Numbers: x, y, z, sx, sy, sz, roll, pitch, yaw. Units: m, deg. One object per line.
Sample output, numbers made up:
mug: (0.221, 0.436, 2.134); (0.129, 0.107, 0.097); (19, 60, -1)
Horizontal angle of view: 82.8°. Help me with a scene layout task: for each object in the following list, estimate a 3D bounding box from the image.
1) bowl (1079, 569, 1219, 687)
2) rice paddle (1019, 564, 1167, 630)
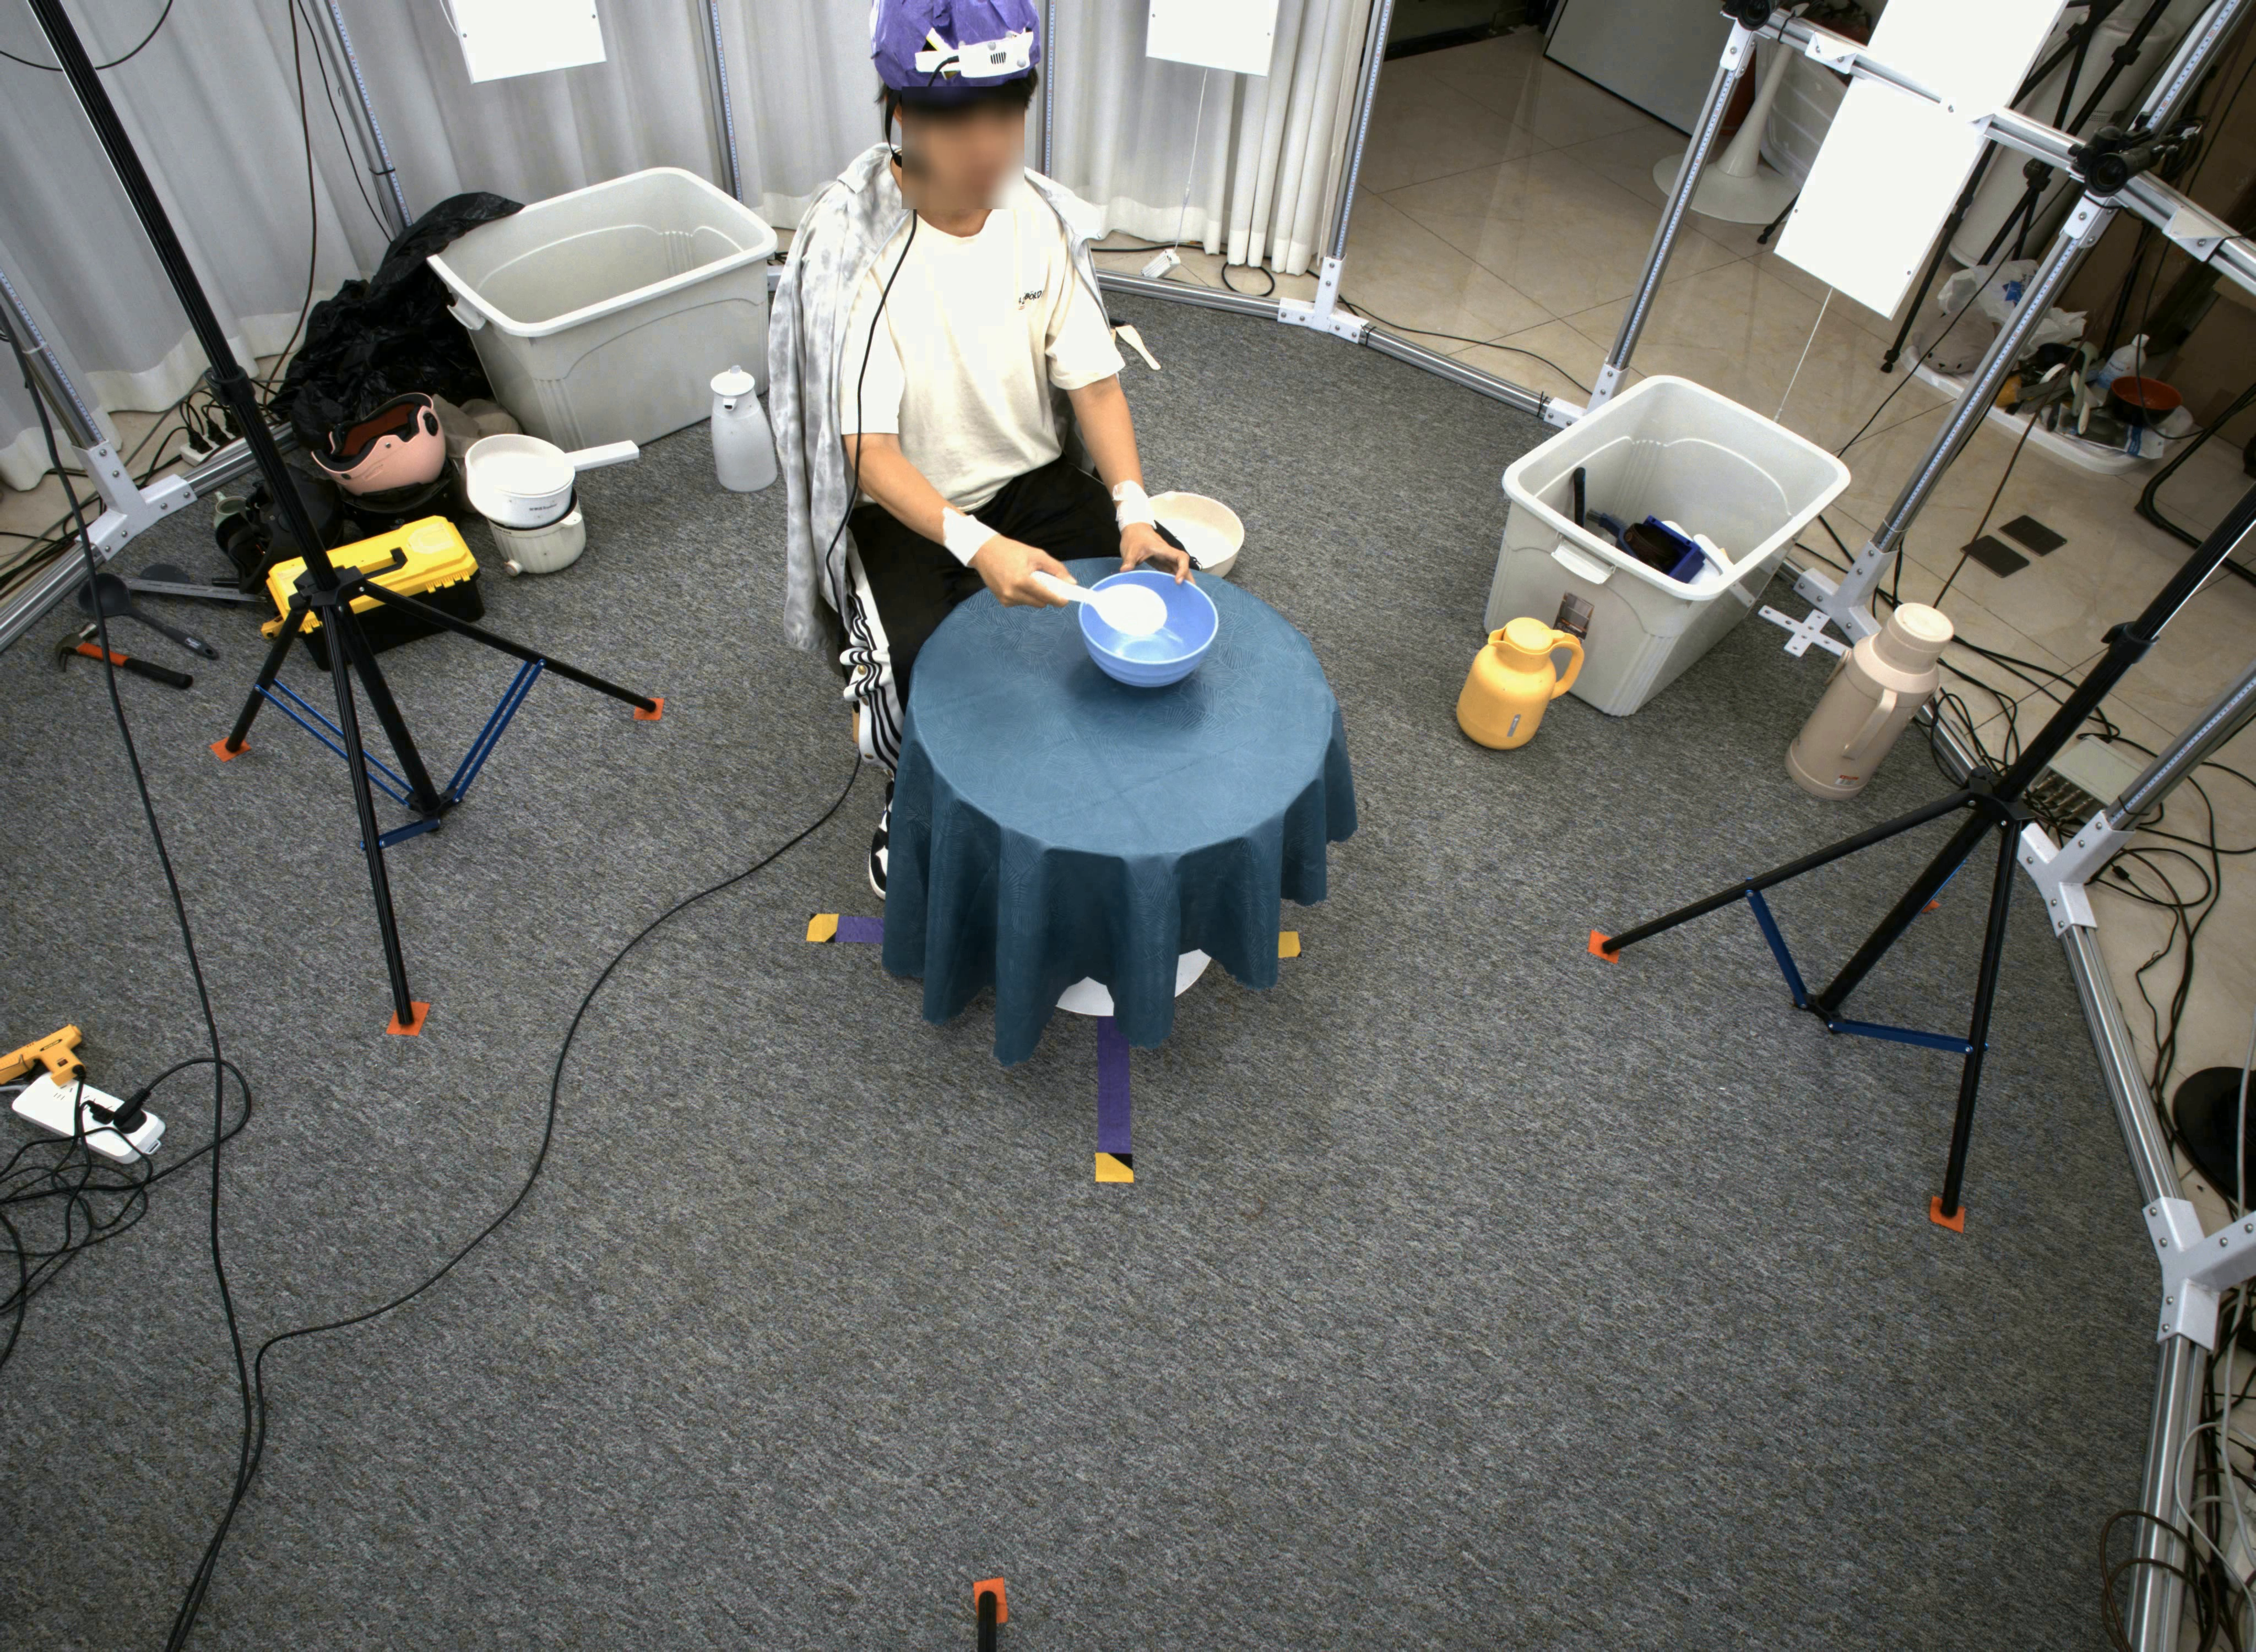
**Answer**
bowl: (0.027, -0.267, 1.833); (0.196, 0.093, 0.201); (2, 50, -3)
rice paddle: (-0.045, -0.314, 1.738); (0.205, 0.029, 0.069); (15, 76, 0)
